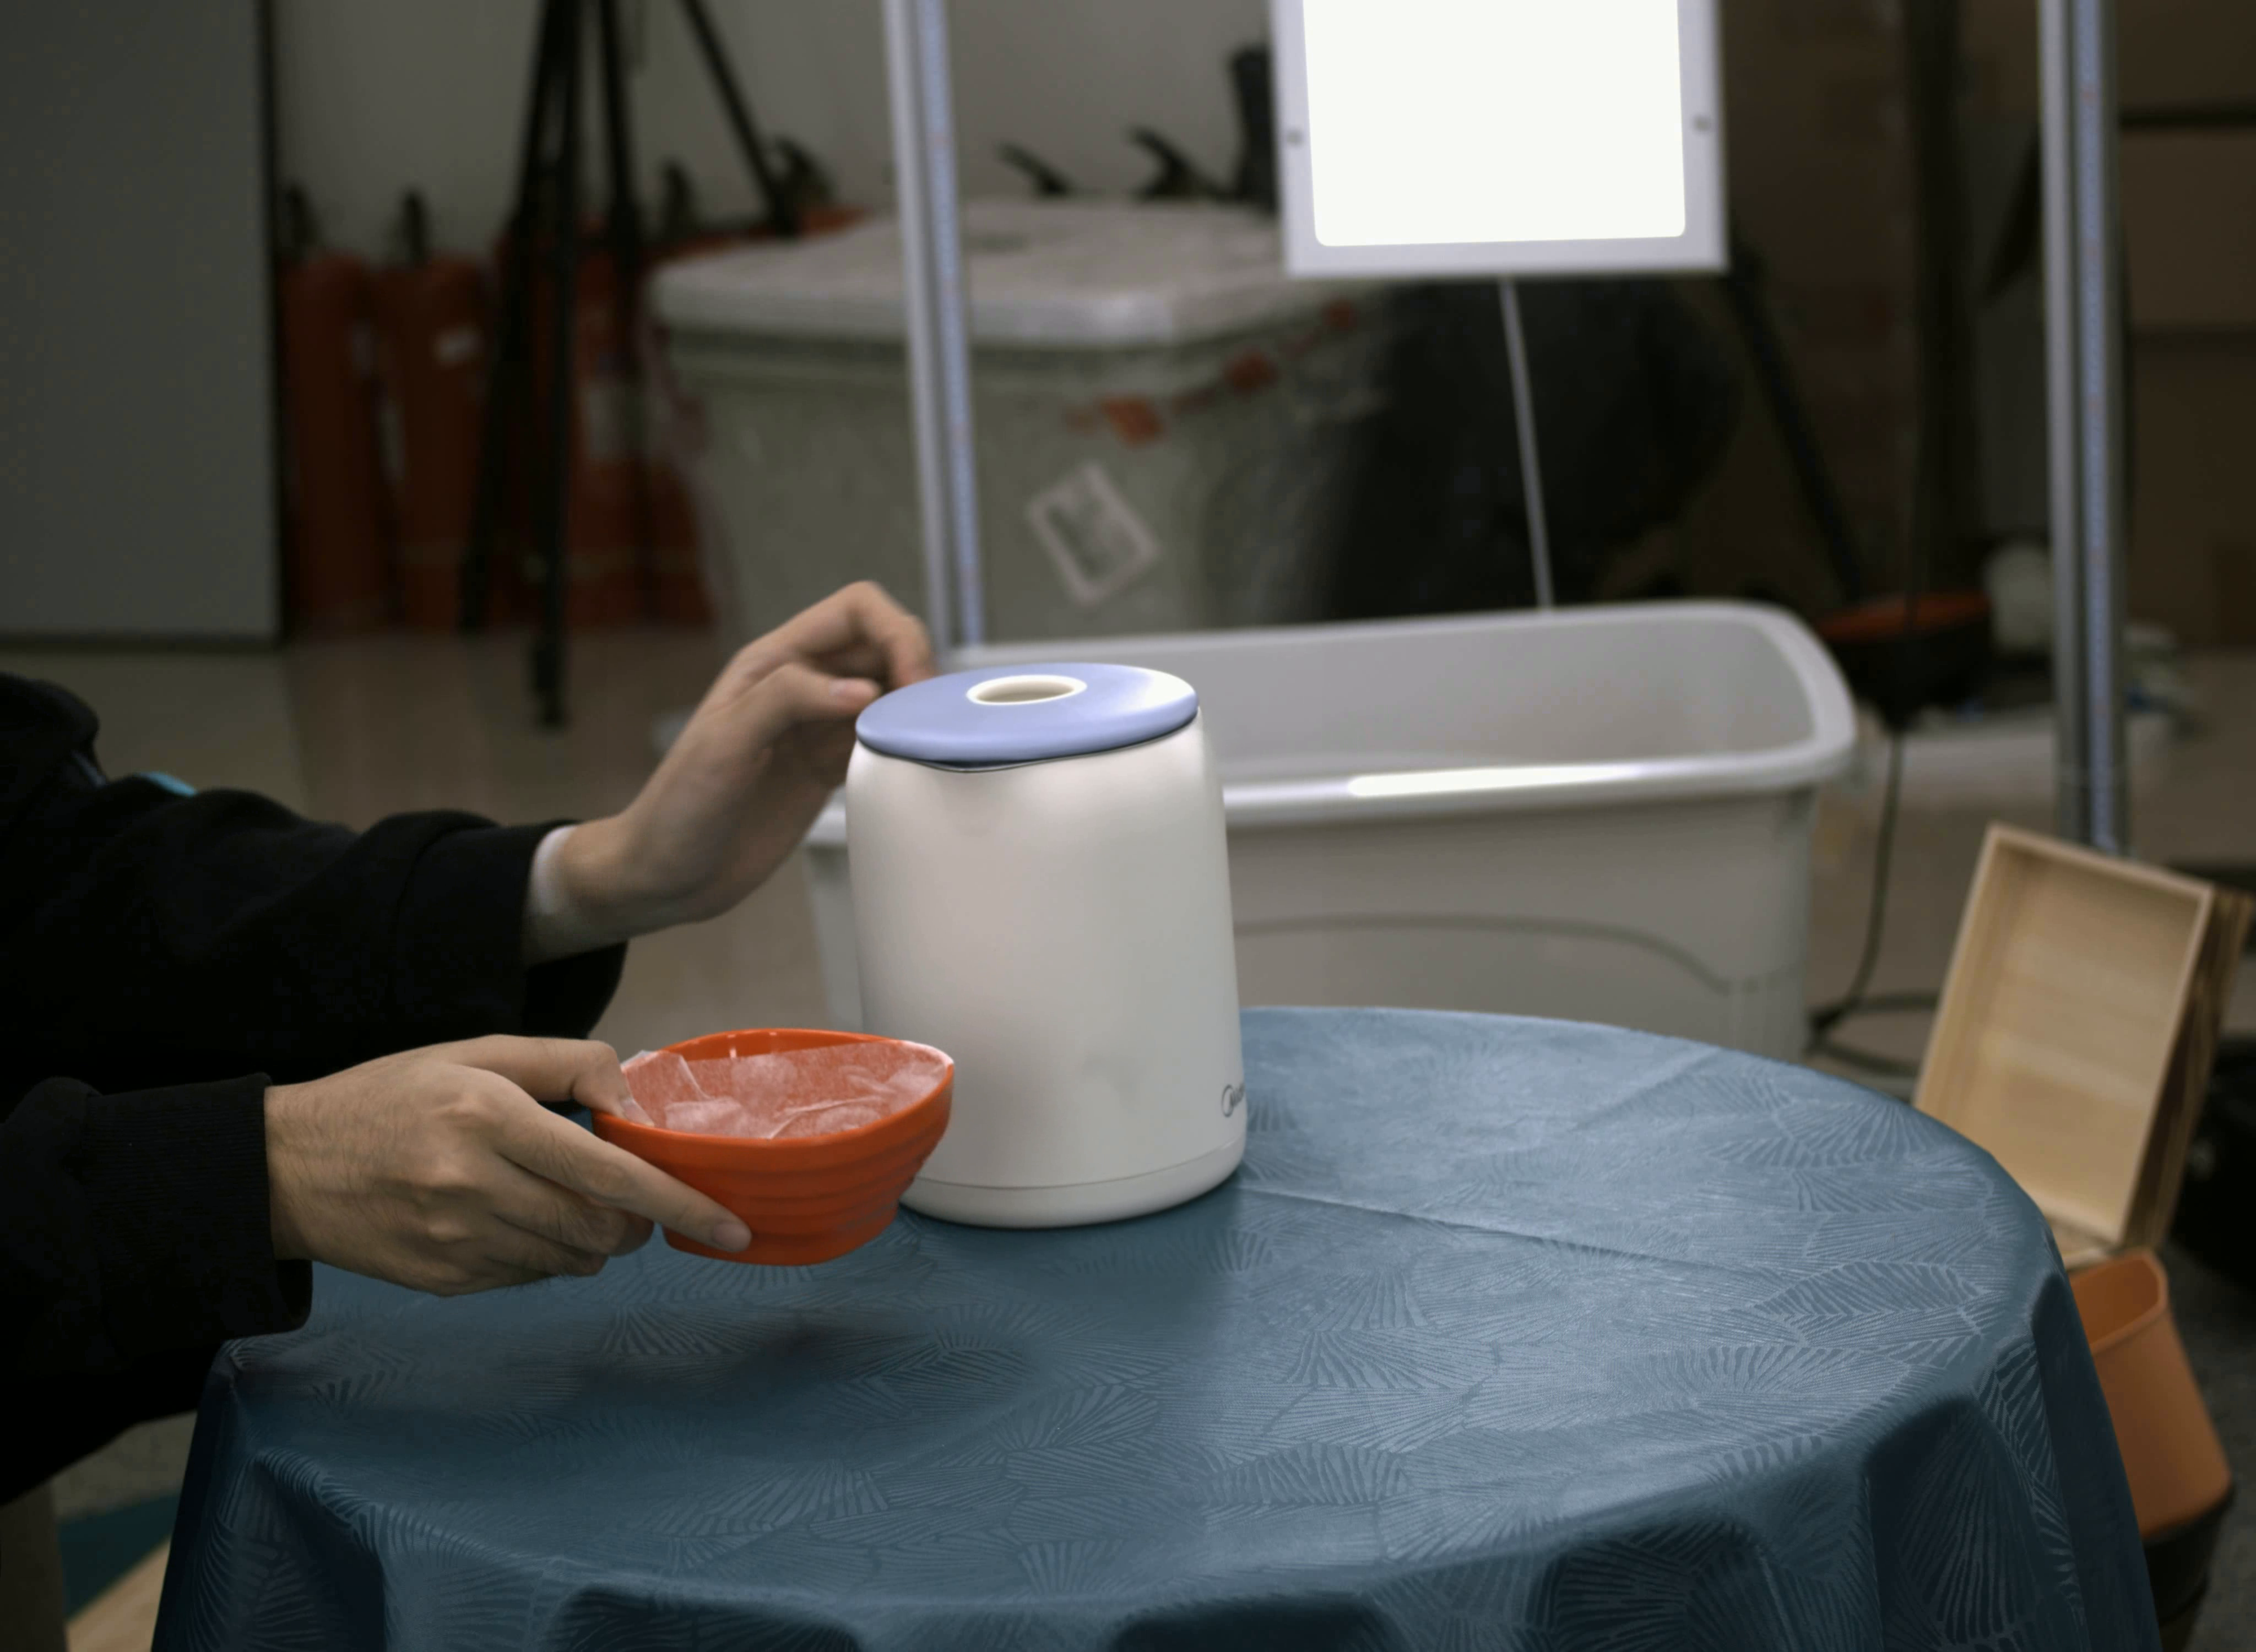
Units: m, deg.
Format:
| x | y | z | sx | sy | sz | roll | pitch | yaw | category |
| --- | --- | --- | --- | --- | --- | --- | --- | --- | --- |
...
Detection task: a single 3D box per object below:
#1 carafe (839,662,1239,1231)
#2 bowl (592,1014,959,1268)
| x | y | z | sx | sy | sz | roll | pitch | yaw | category |
| --- | --- | --- | --- | --- | --- | --- | --- | --- | --- |
| -0.024 | 0.035 | 1.920 | 0.133 | 0.183 | 0.188 | 1 | 12 | 16 | carafe |
| -0.112 | 0.103 | 1.763 | 0.118 | 0.051 | 0.118 | -2 | 19 | -1 | bowl |
